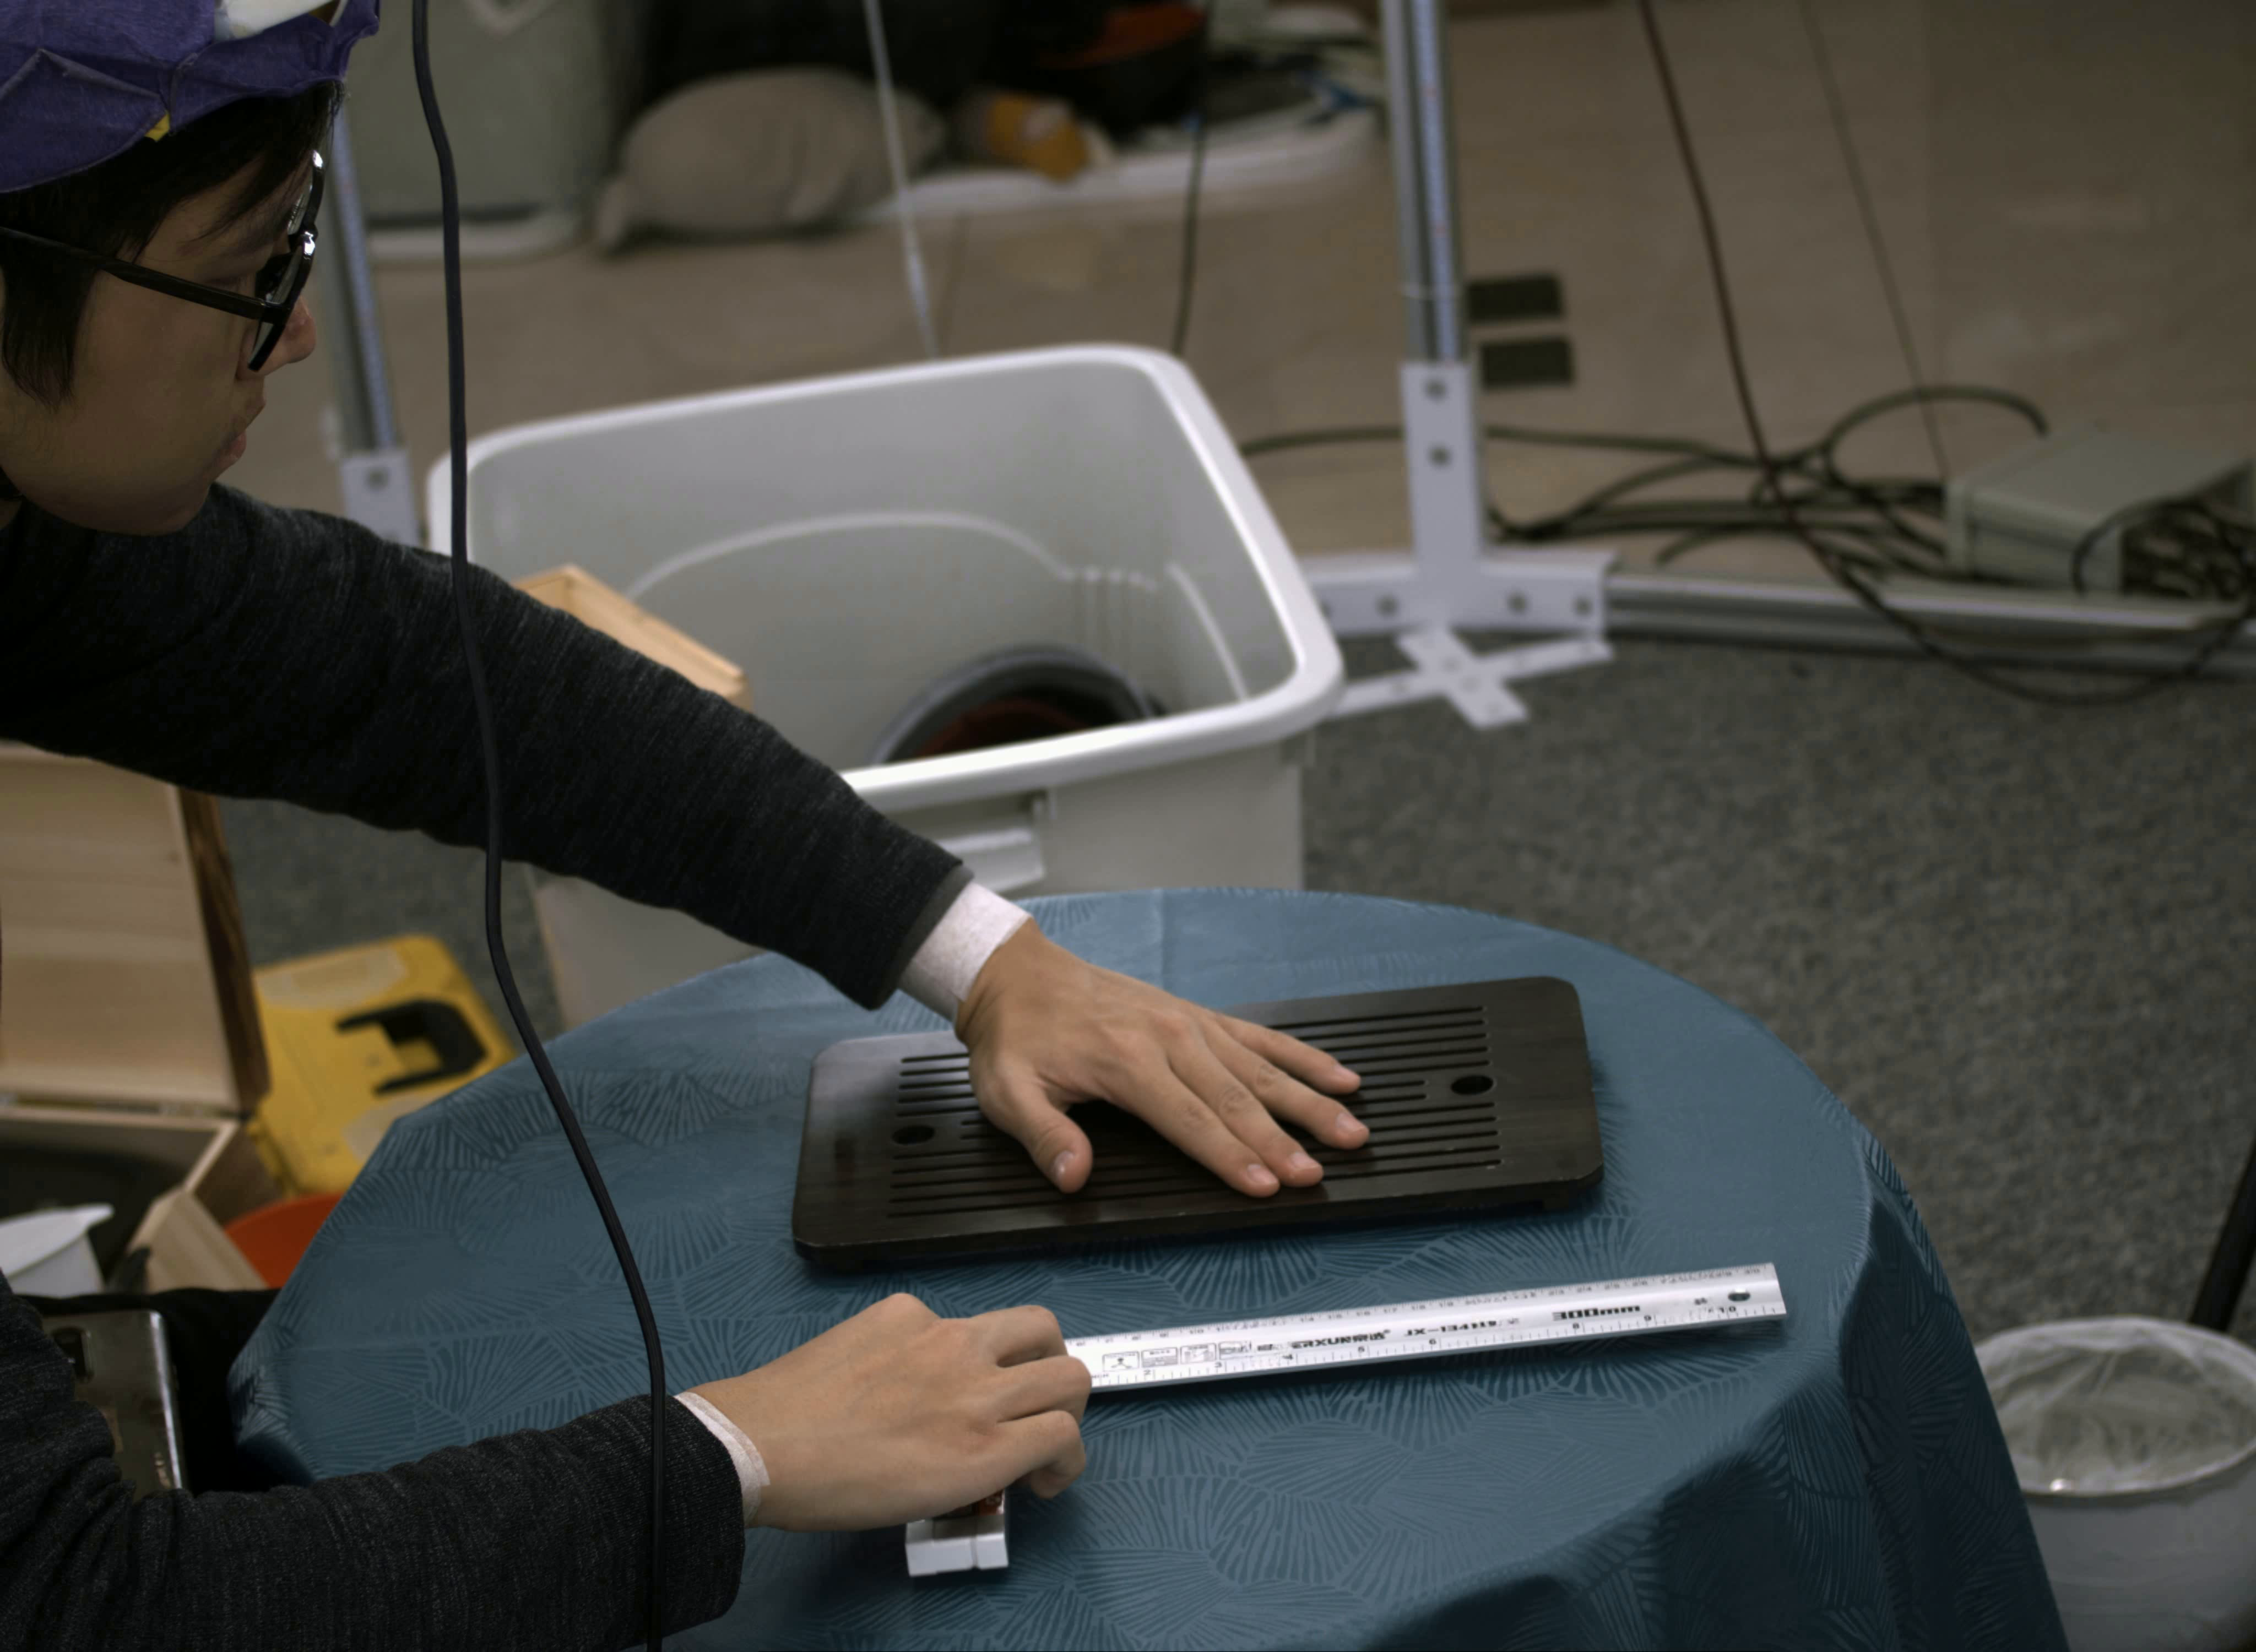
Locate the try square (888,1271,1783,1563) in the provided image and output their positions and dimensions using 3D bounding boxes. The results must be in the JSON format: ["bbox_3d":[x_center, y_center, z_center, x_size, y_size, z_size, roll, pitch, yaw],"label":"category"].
[{"bbox_3d":[0.074,0.201,1.966,0.312,0.016,0.150,-6,20,3],"label":"try square"}]

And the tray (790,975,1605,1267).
[{"bbox_3d":[0.026,0.114,2.175,0.305,0.019,0.167,-5,25,3],"label":"tray"}]
